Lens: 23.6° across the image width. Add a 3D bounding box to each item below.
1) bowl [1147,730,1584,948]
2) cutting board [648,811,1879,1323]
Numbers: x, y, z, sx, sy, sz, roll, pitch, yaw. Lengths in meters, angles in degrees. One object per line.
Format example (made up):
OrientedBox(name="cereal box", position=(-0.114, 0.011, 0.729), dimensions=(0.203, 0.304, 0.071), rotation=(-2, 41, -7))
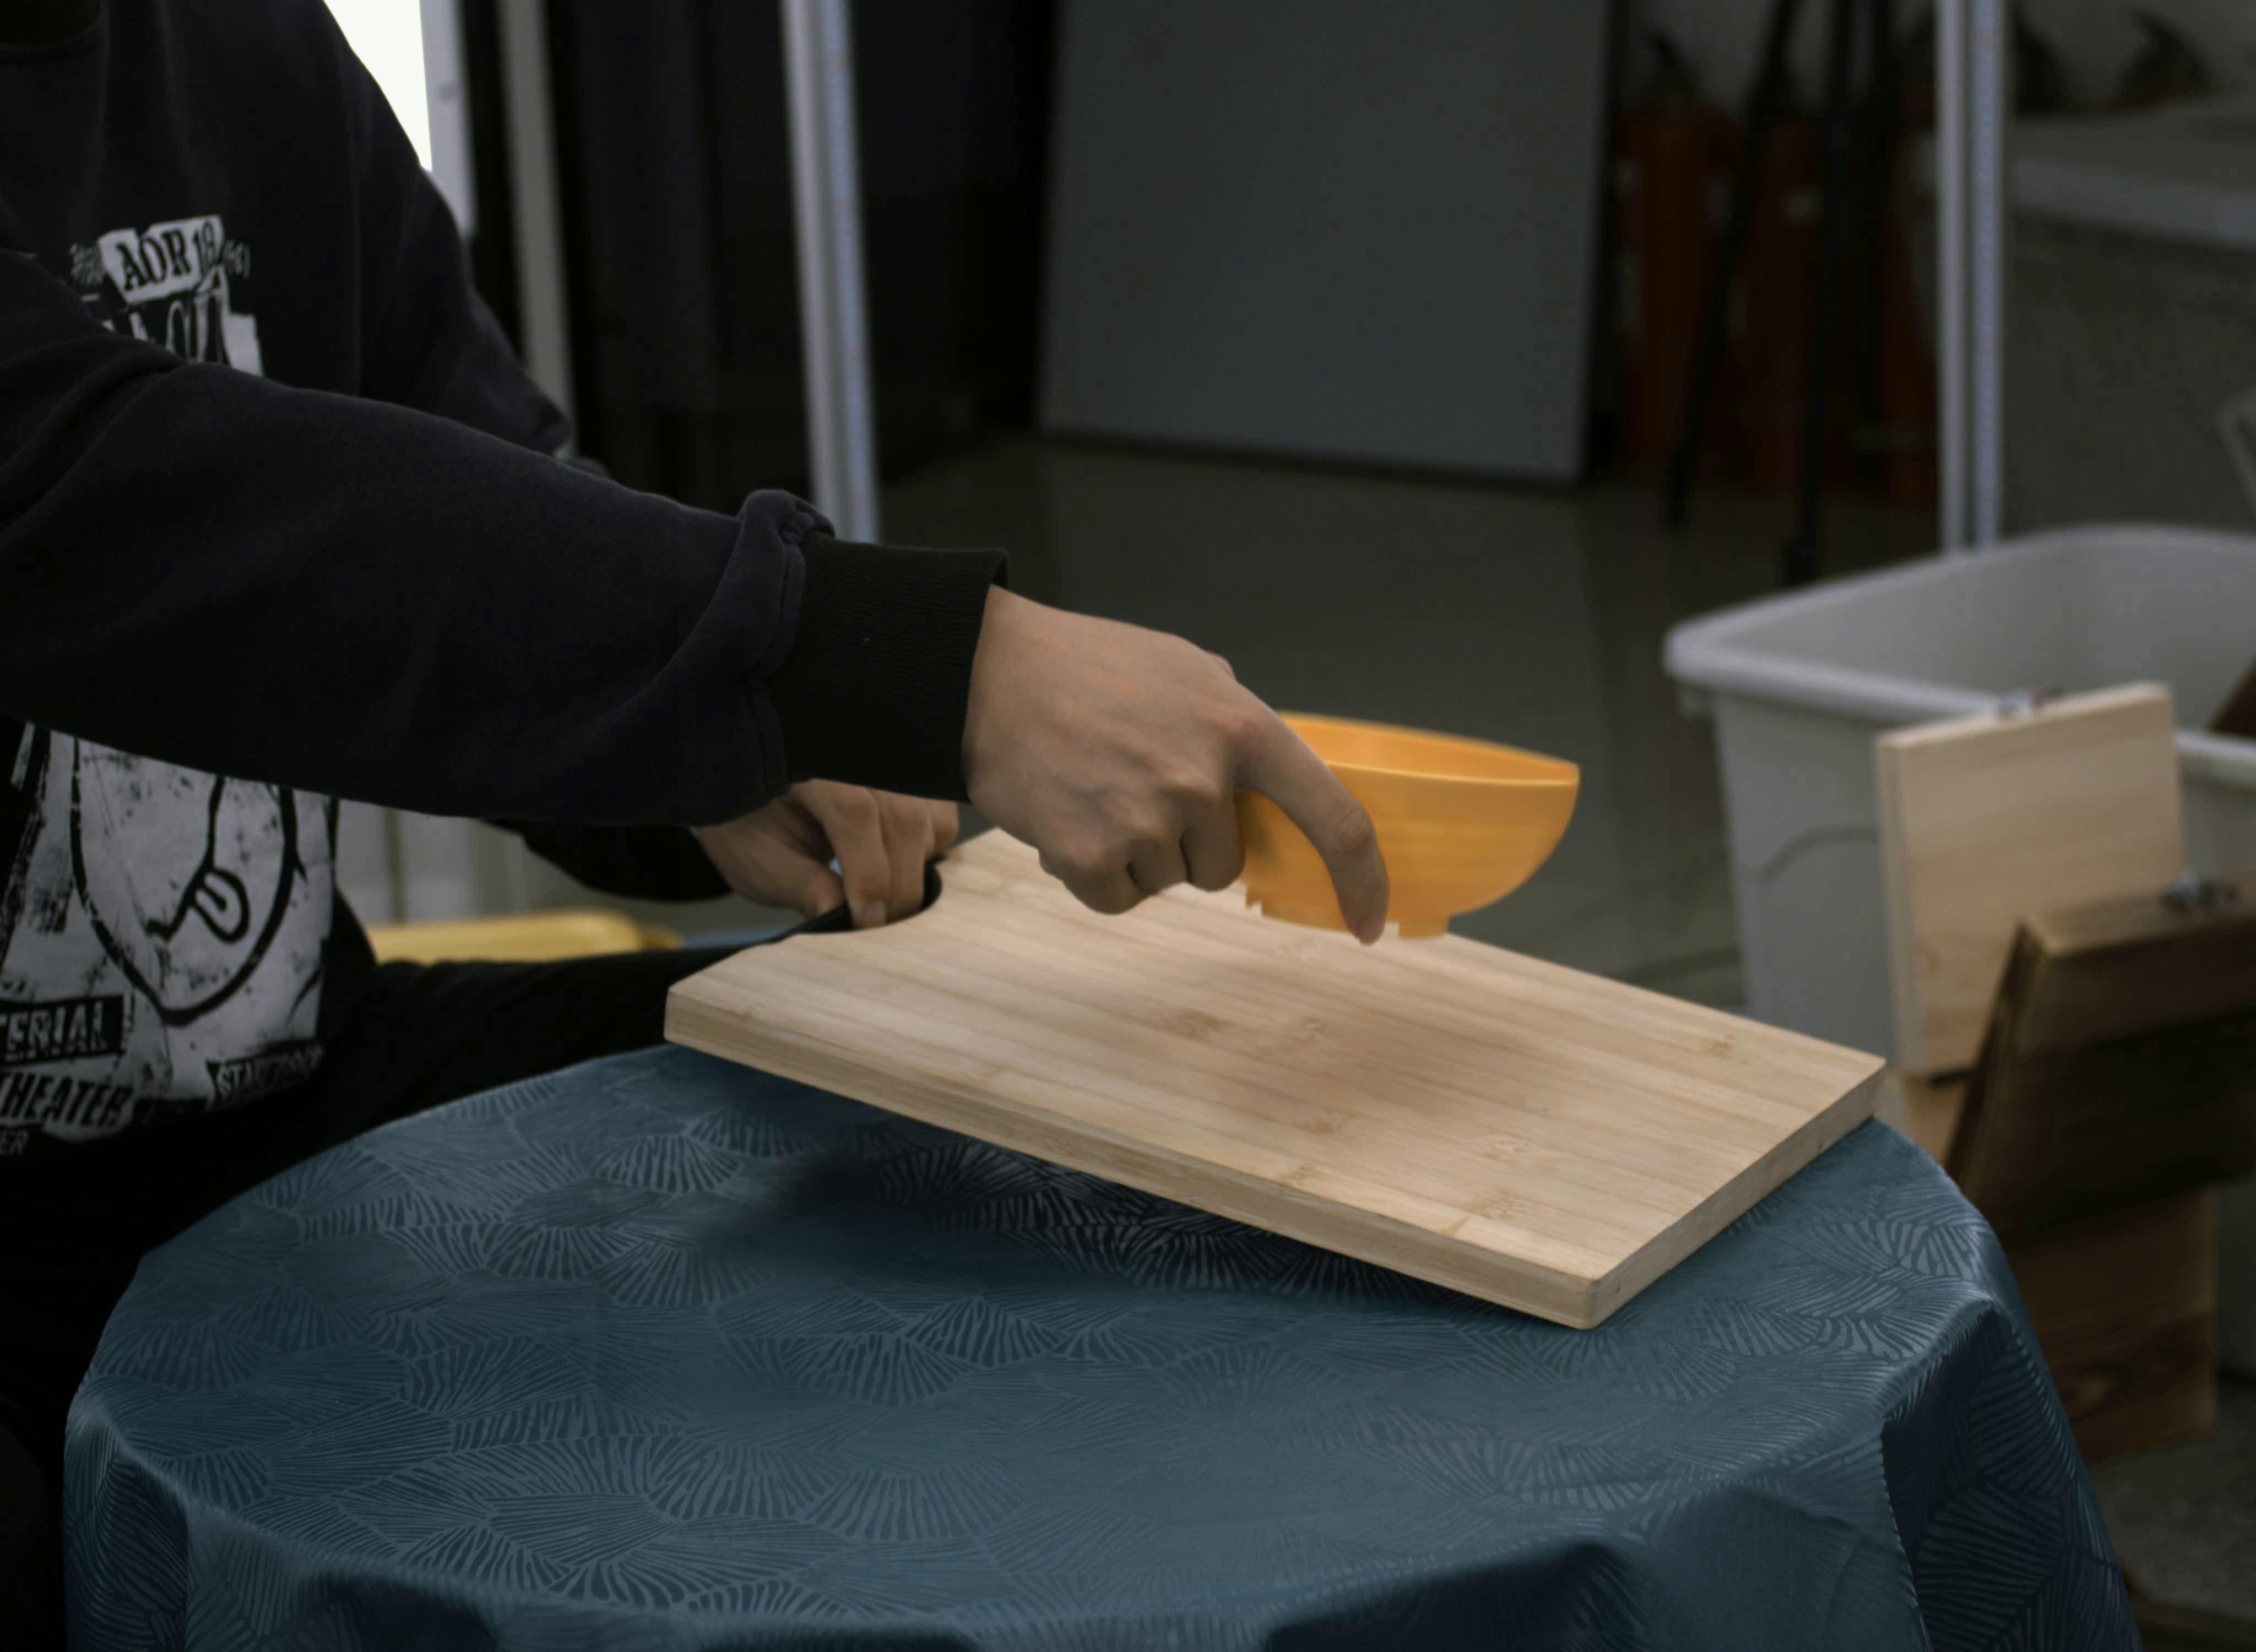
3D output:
OrientedBox(name="bowl", position=(0.074, 0.006, 1.737), dimensions=(0.143, 0.061, 0.145), rotation=(6, 2, -1))
OrientedBox(name="cutting board", position=(0.047, 0.073, 1.786), dimensions=(0.350, 0.024, 0.247), rotation=(15, 21, 26))
